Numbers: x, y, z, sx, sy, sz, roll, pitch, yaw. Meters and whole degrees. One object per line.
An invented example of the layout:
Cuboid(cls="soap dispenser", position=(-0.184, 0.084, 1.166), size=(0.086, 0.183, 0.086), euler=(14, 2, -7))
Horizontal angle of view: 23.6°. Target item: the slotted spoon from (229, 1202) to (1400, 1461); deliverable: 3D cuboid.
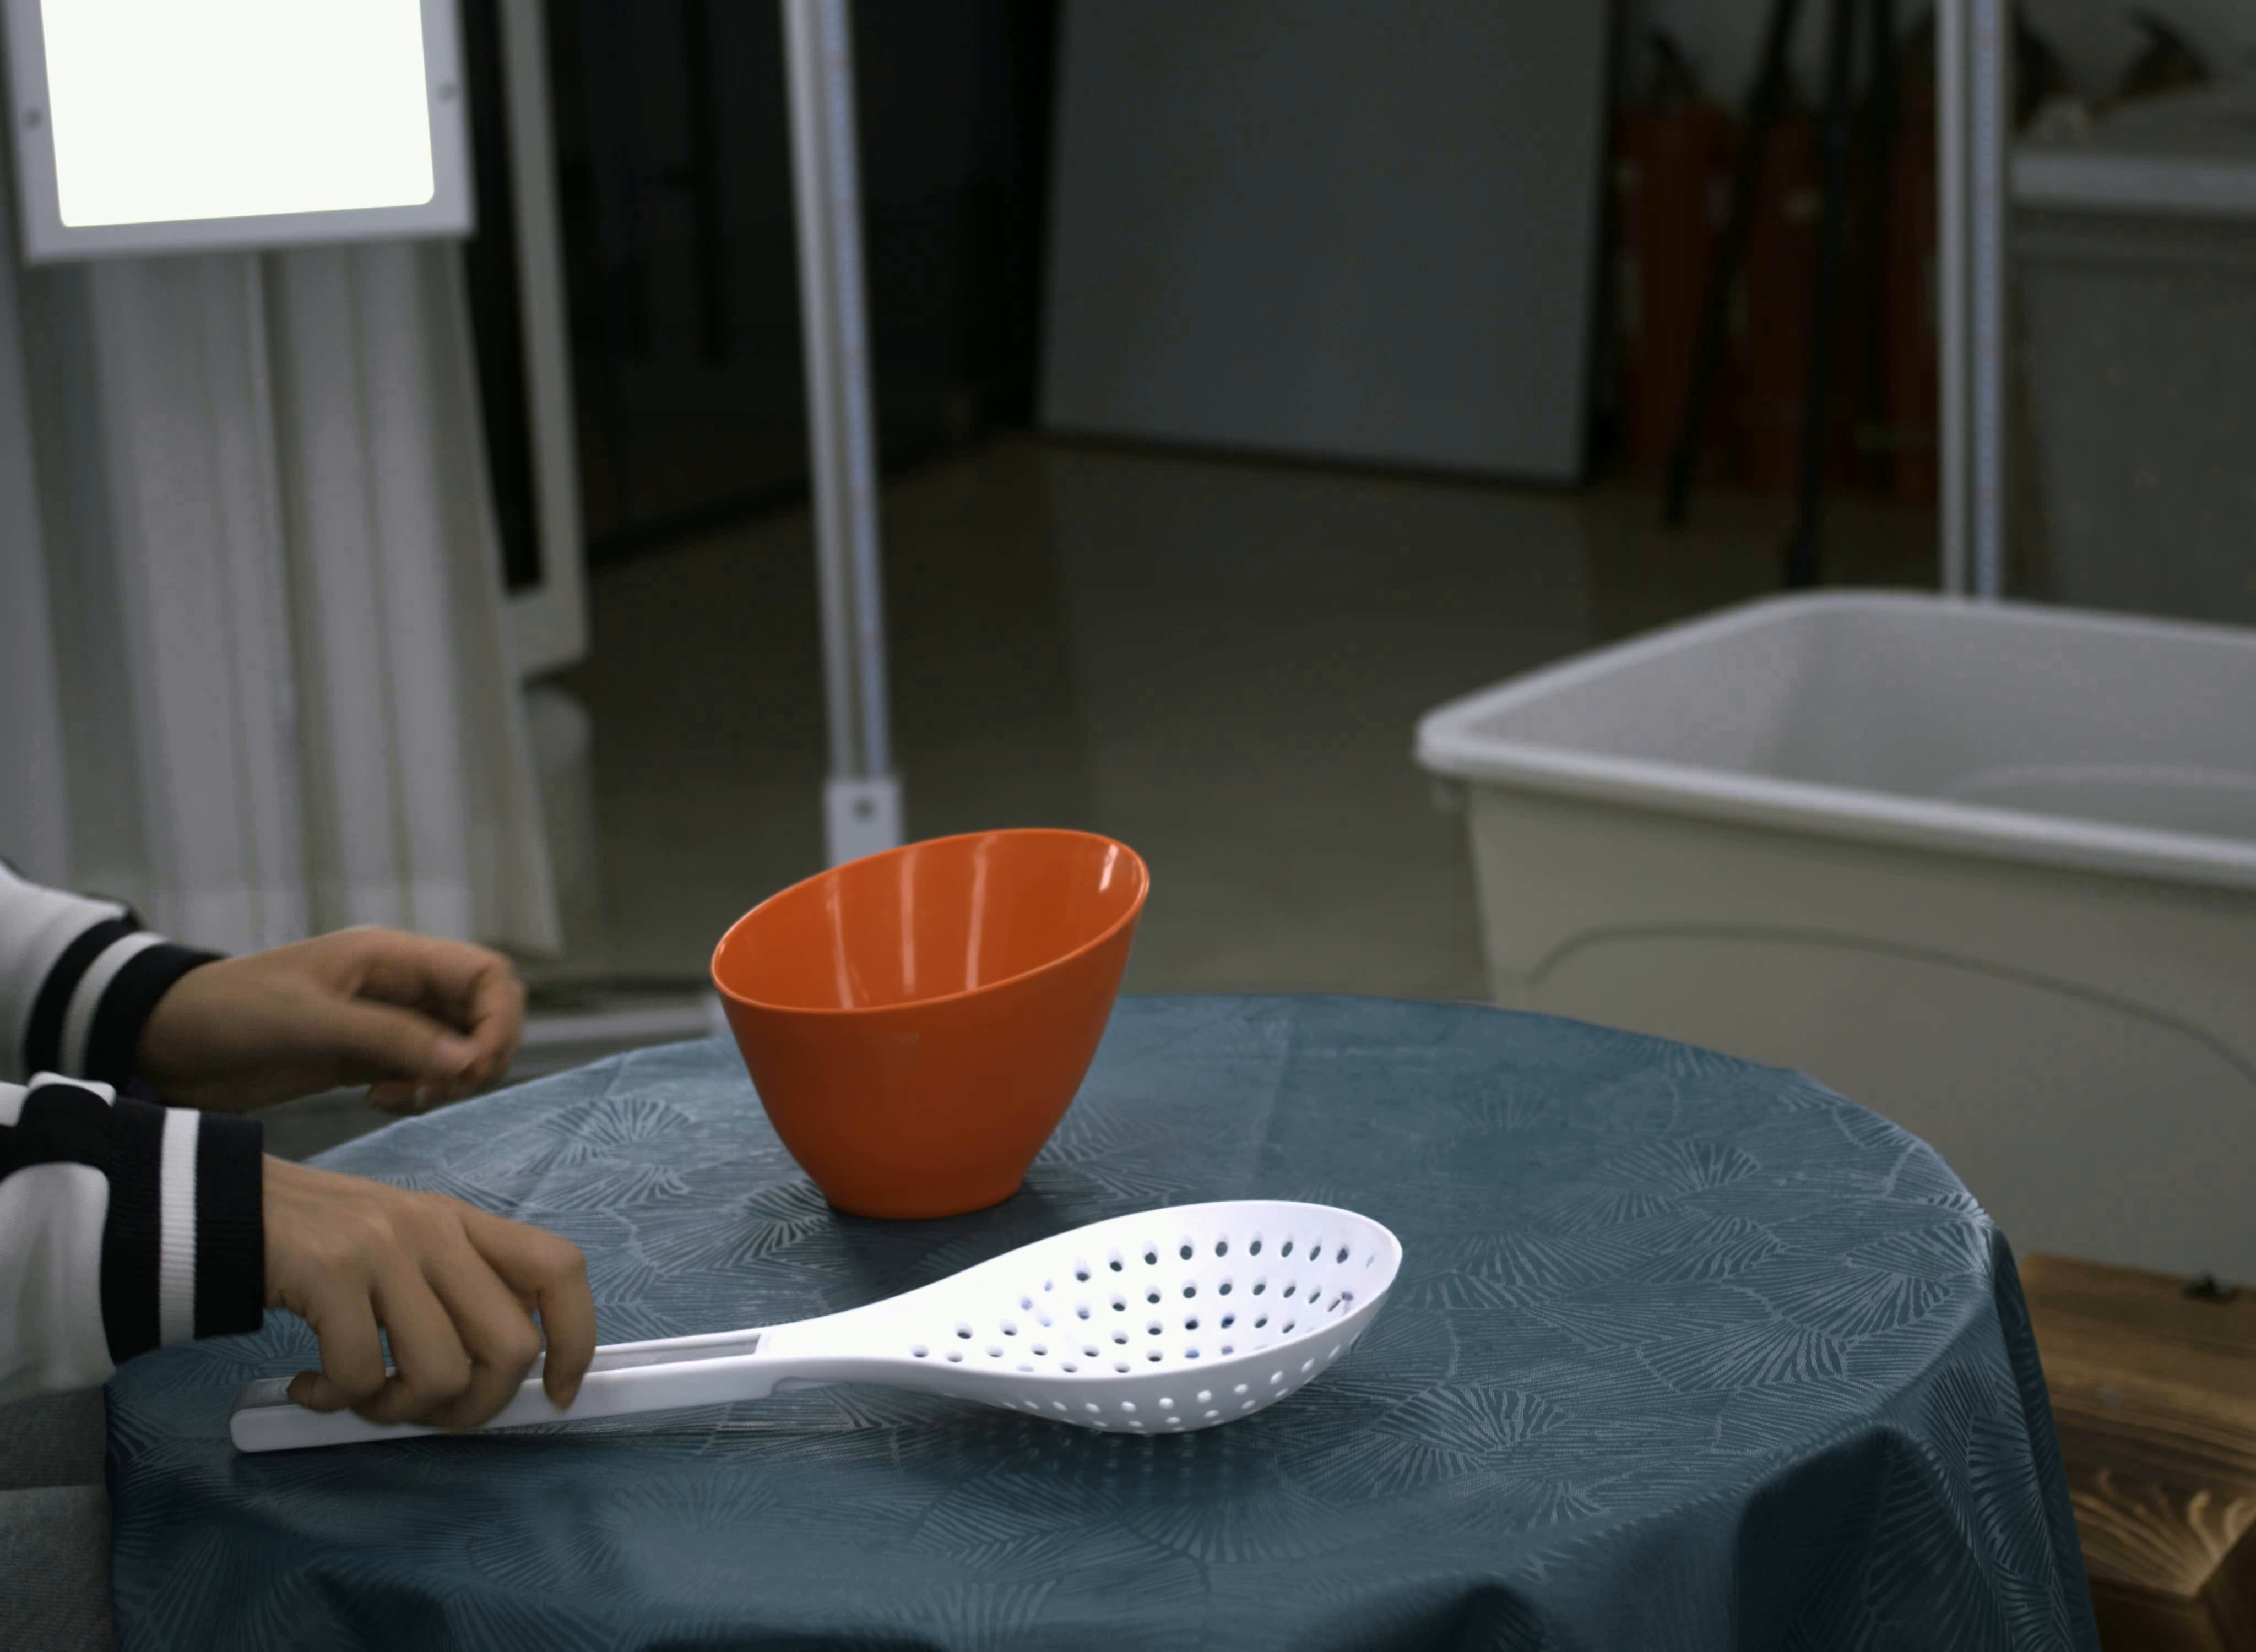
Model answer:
Cuboid(cls="slotted spoon", position=(-0.092, 0.154, 1.569), size=(0.346, 0.046, 0.136), euler=(-3, 15, 7))

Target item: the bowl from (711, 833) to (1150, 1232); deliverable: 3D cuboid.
Cuboid(cls="bowl", position=(-0.062, 0.071, 1.780), size=(0.146, 0.106, 0.148), euler=(-4, 15, 0))
